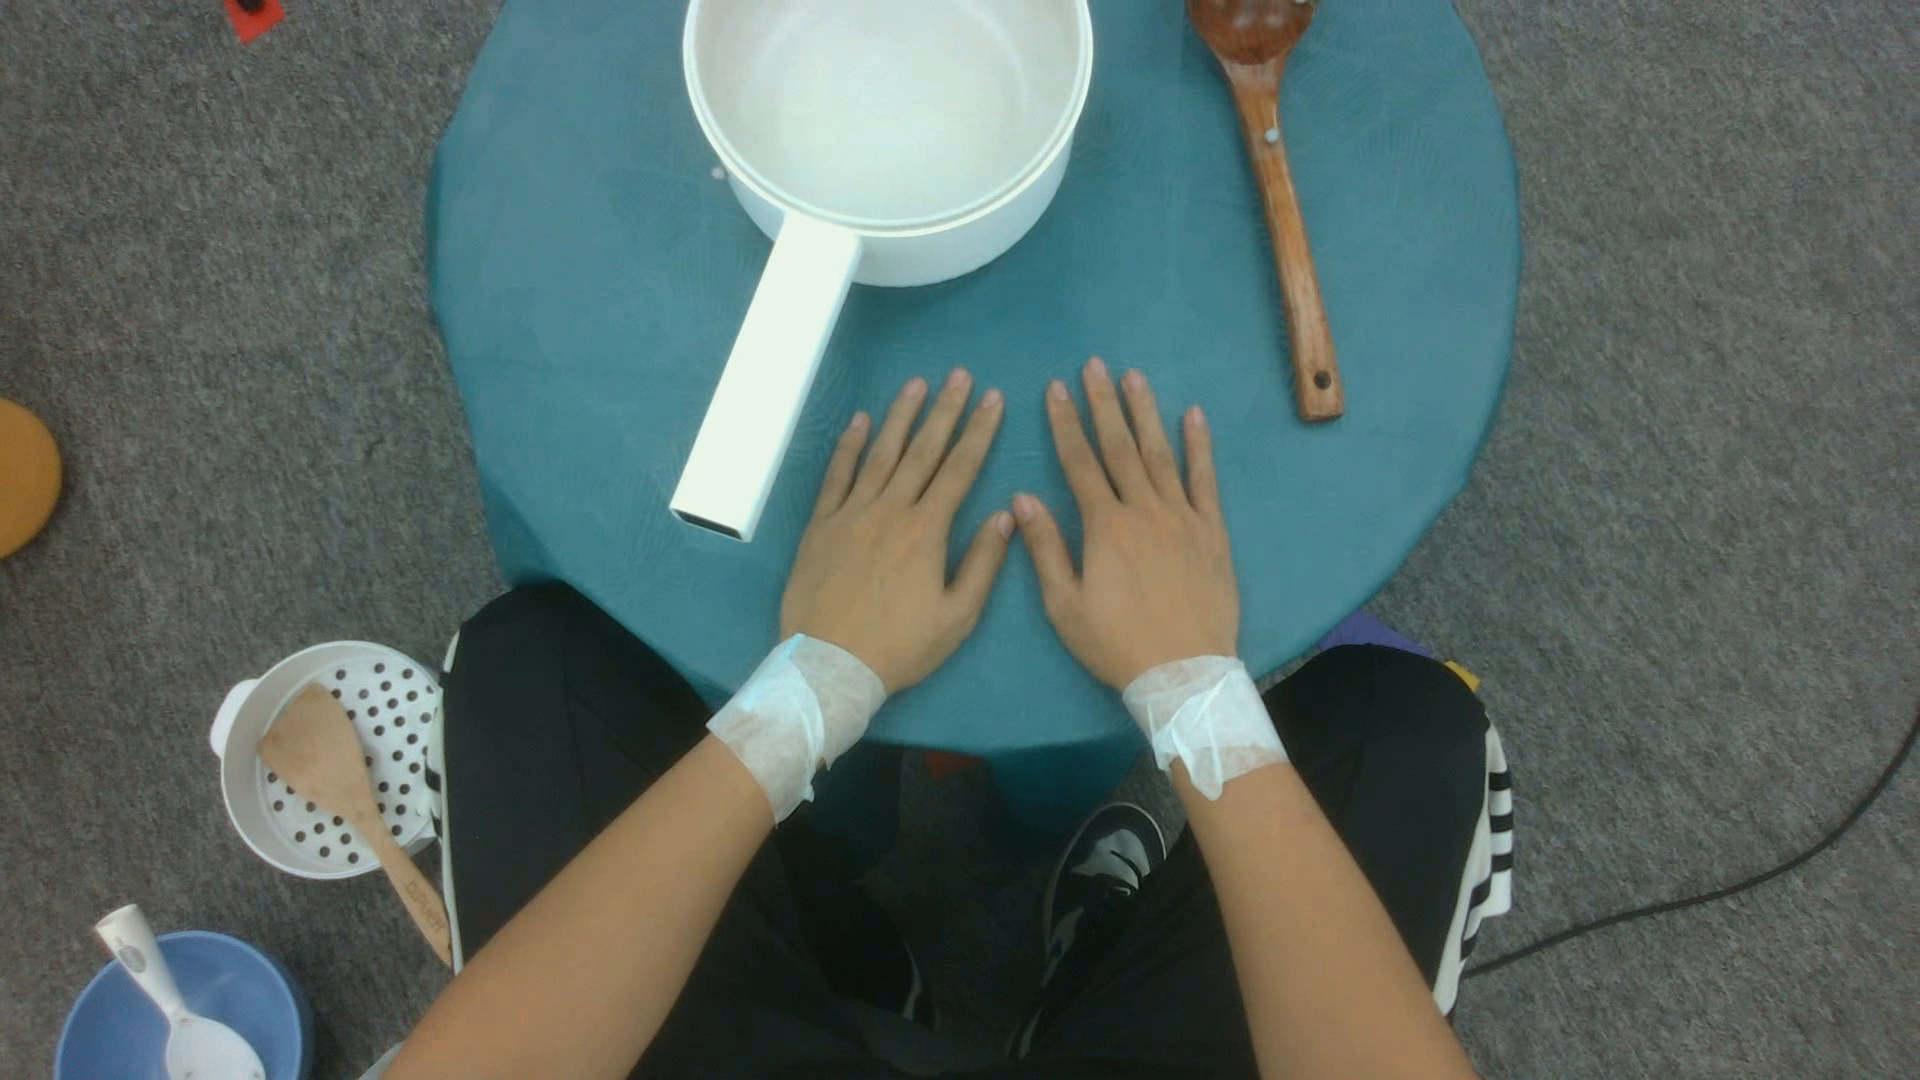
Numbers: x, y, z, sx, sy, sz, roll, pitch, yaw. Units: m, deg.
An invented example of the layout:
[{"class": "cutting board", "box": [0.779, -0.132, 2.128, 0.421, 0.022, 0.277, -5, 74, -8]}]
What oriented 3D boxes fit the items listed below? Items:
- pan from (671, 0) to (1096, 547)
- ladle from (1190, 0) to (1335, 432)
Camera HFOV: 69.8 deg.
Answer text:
[{"class": "pan", "box": [-0.057, -0.160, 0.724, 0.201, 0.102, 0.355, 19, 79, 4]}, {"class": "ladle", "box": [0.180, -0.199, 0.742, 0.082, 0.076, 0.274, -6, 76, -3]}]
